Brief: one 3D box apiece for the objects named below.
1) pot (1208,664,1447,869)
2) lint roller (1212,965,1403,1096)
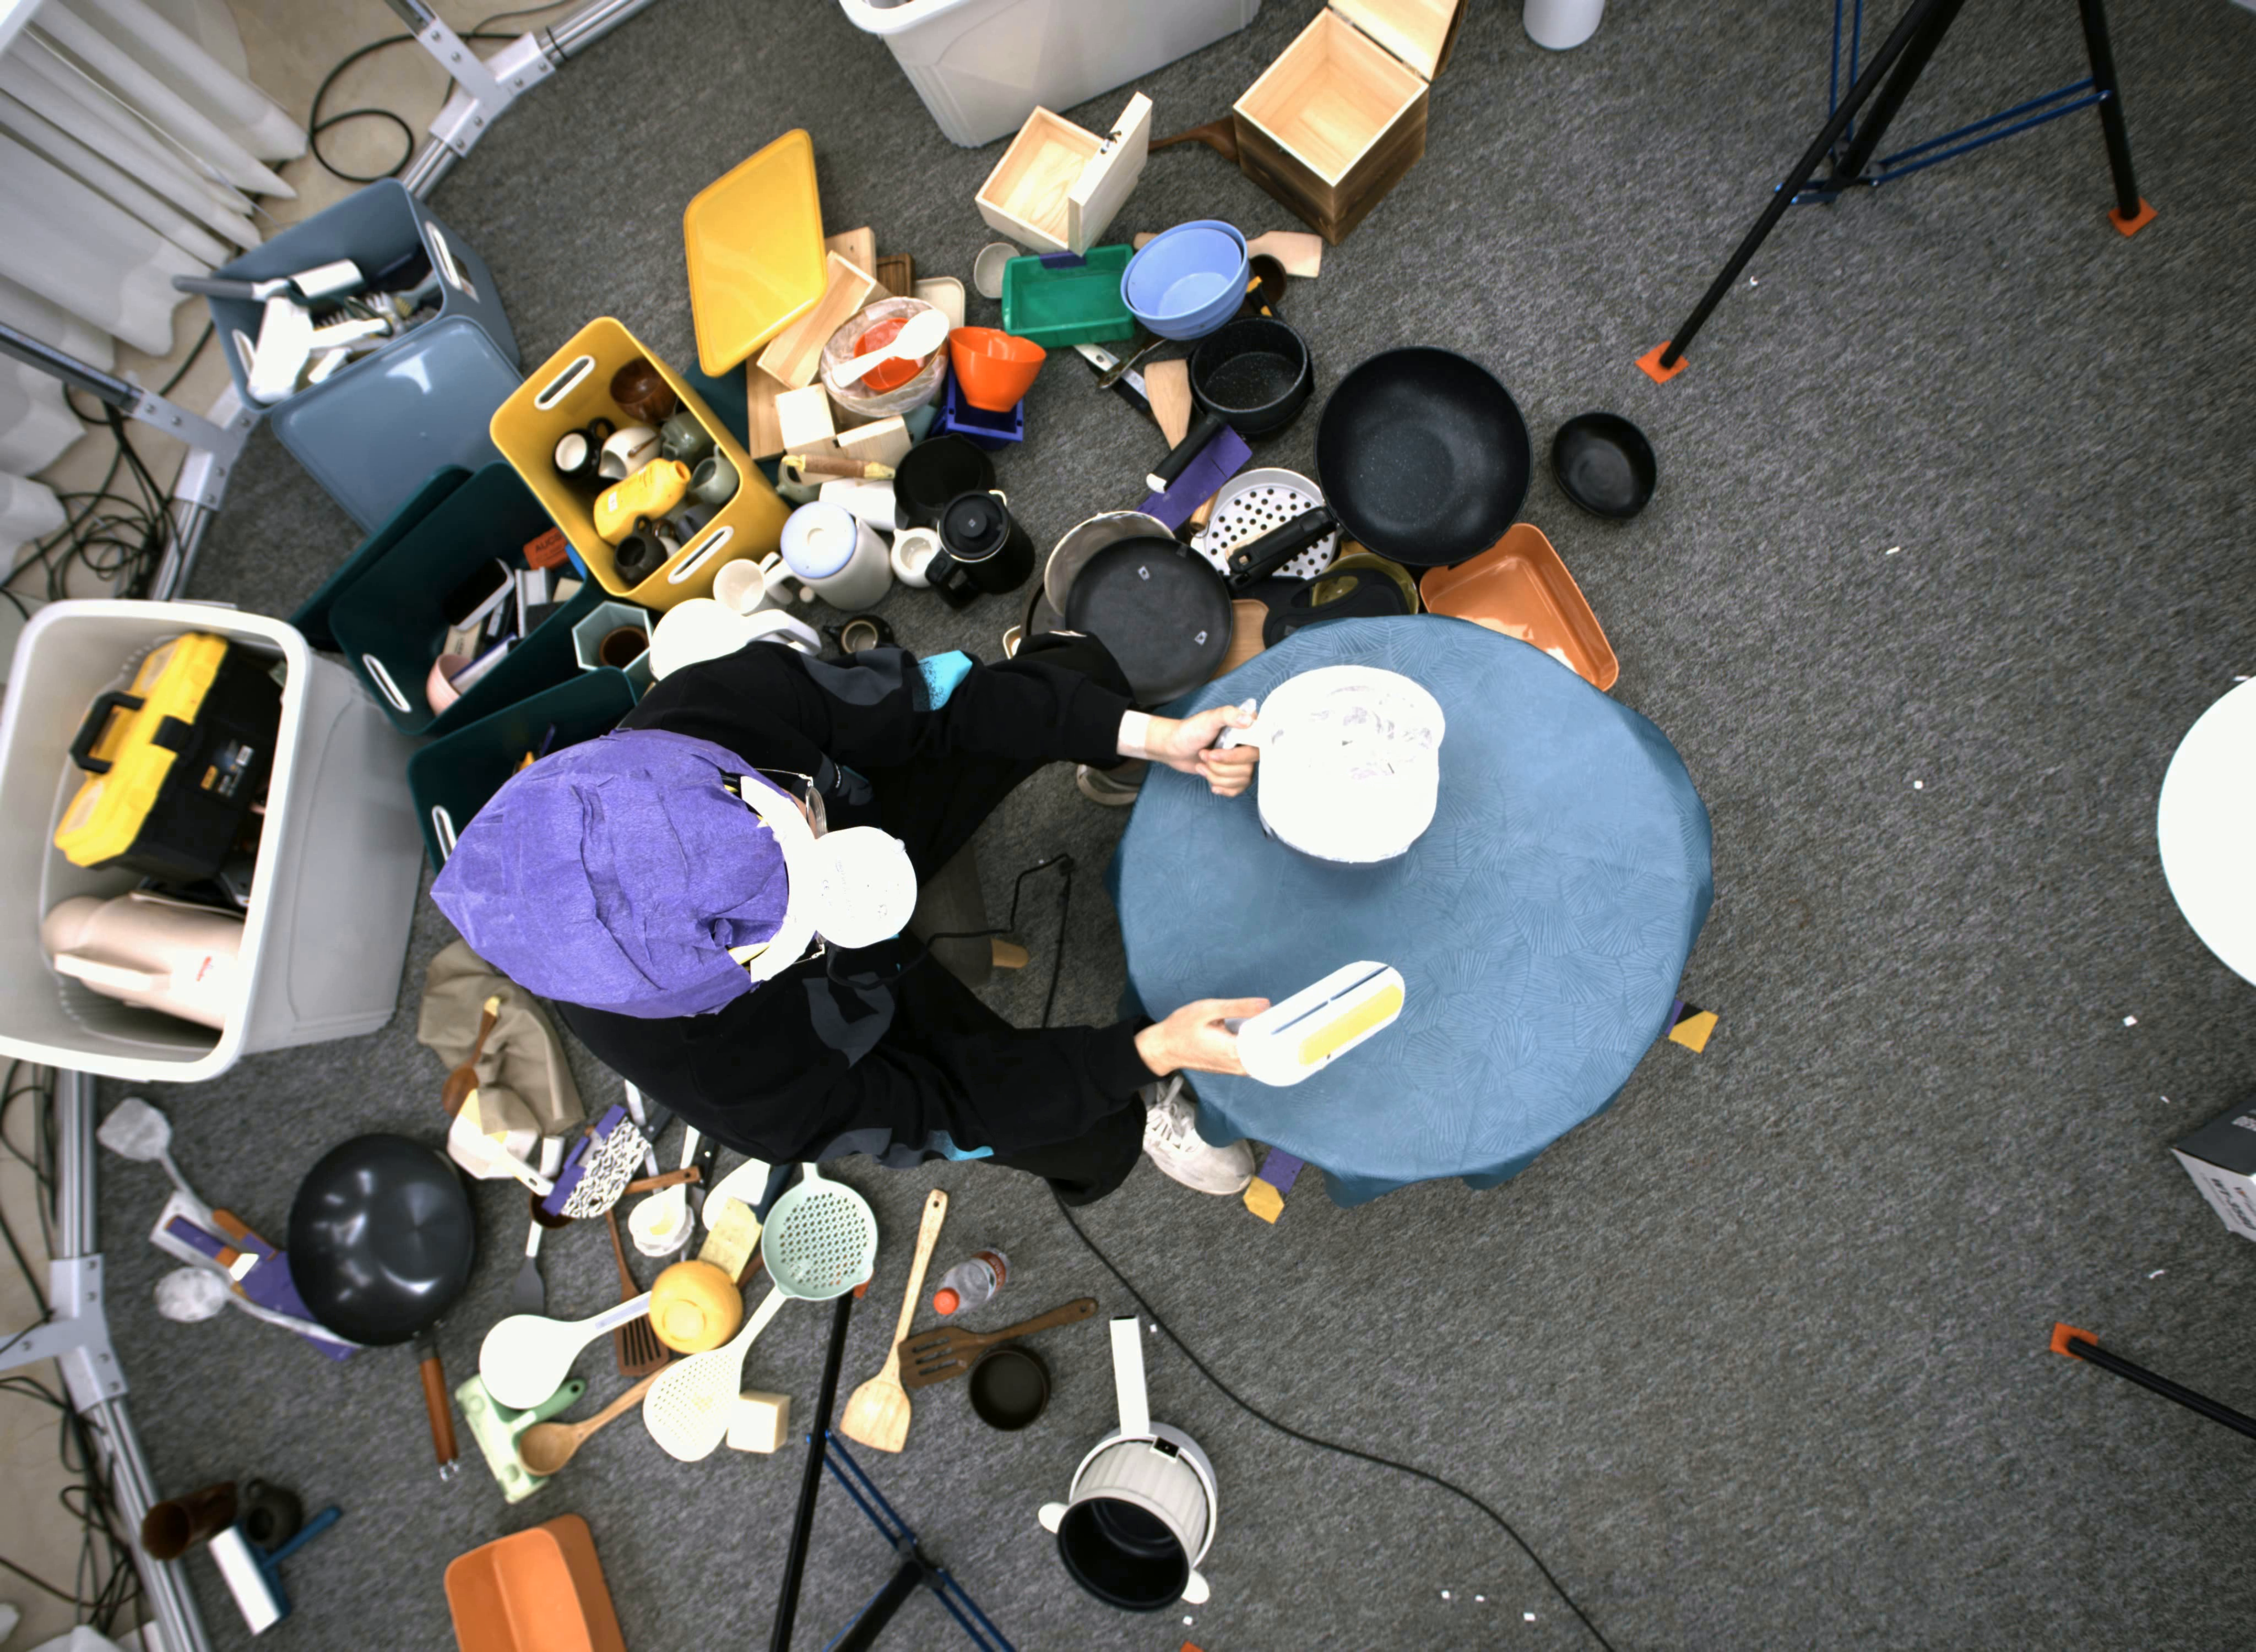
[{"bbox_3d":[0.191,-0.062,1.359,0.234,0.140,0.174,12,46,16],"label":"pot"},{"bbox_3d":[0.144,0.189,1.322,0.189,0.193,0.075,-29,108,-32],"label":"lint roller"}]
